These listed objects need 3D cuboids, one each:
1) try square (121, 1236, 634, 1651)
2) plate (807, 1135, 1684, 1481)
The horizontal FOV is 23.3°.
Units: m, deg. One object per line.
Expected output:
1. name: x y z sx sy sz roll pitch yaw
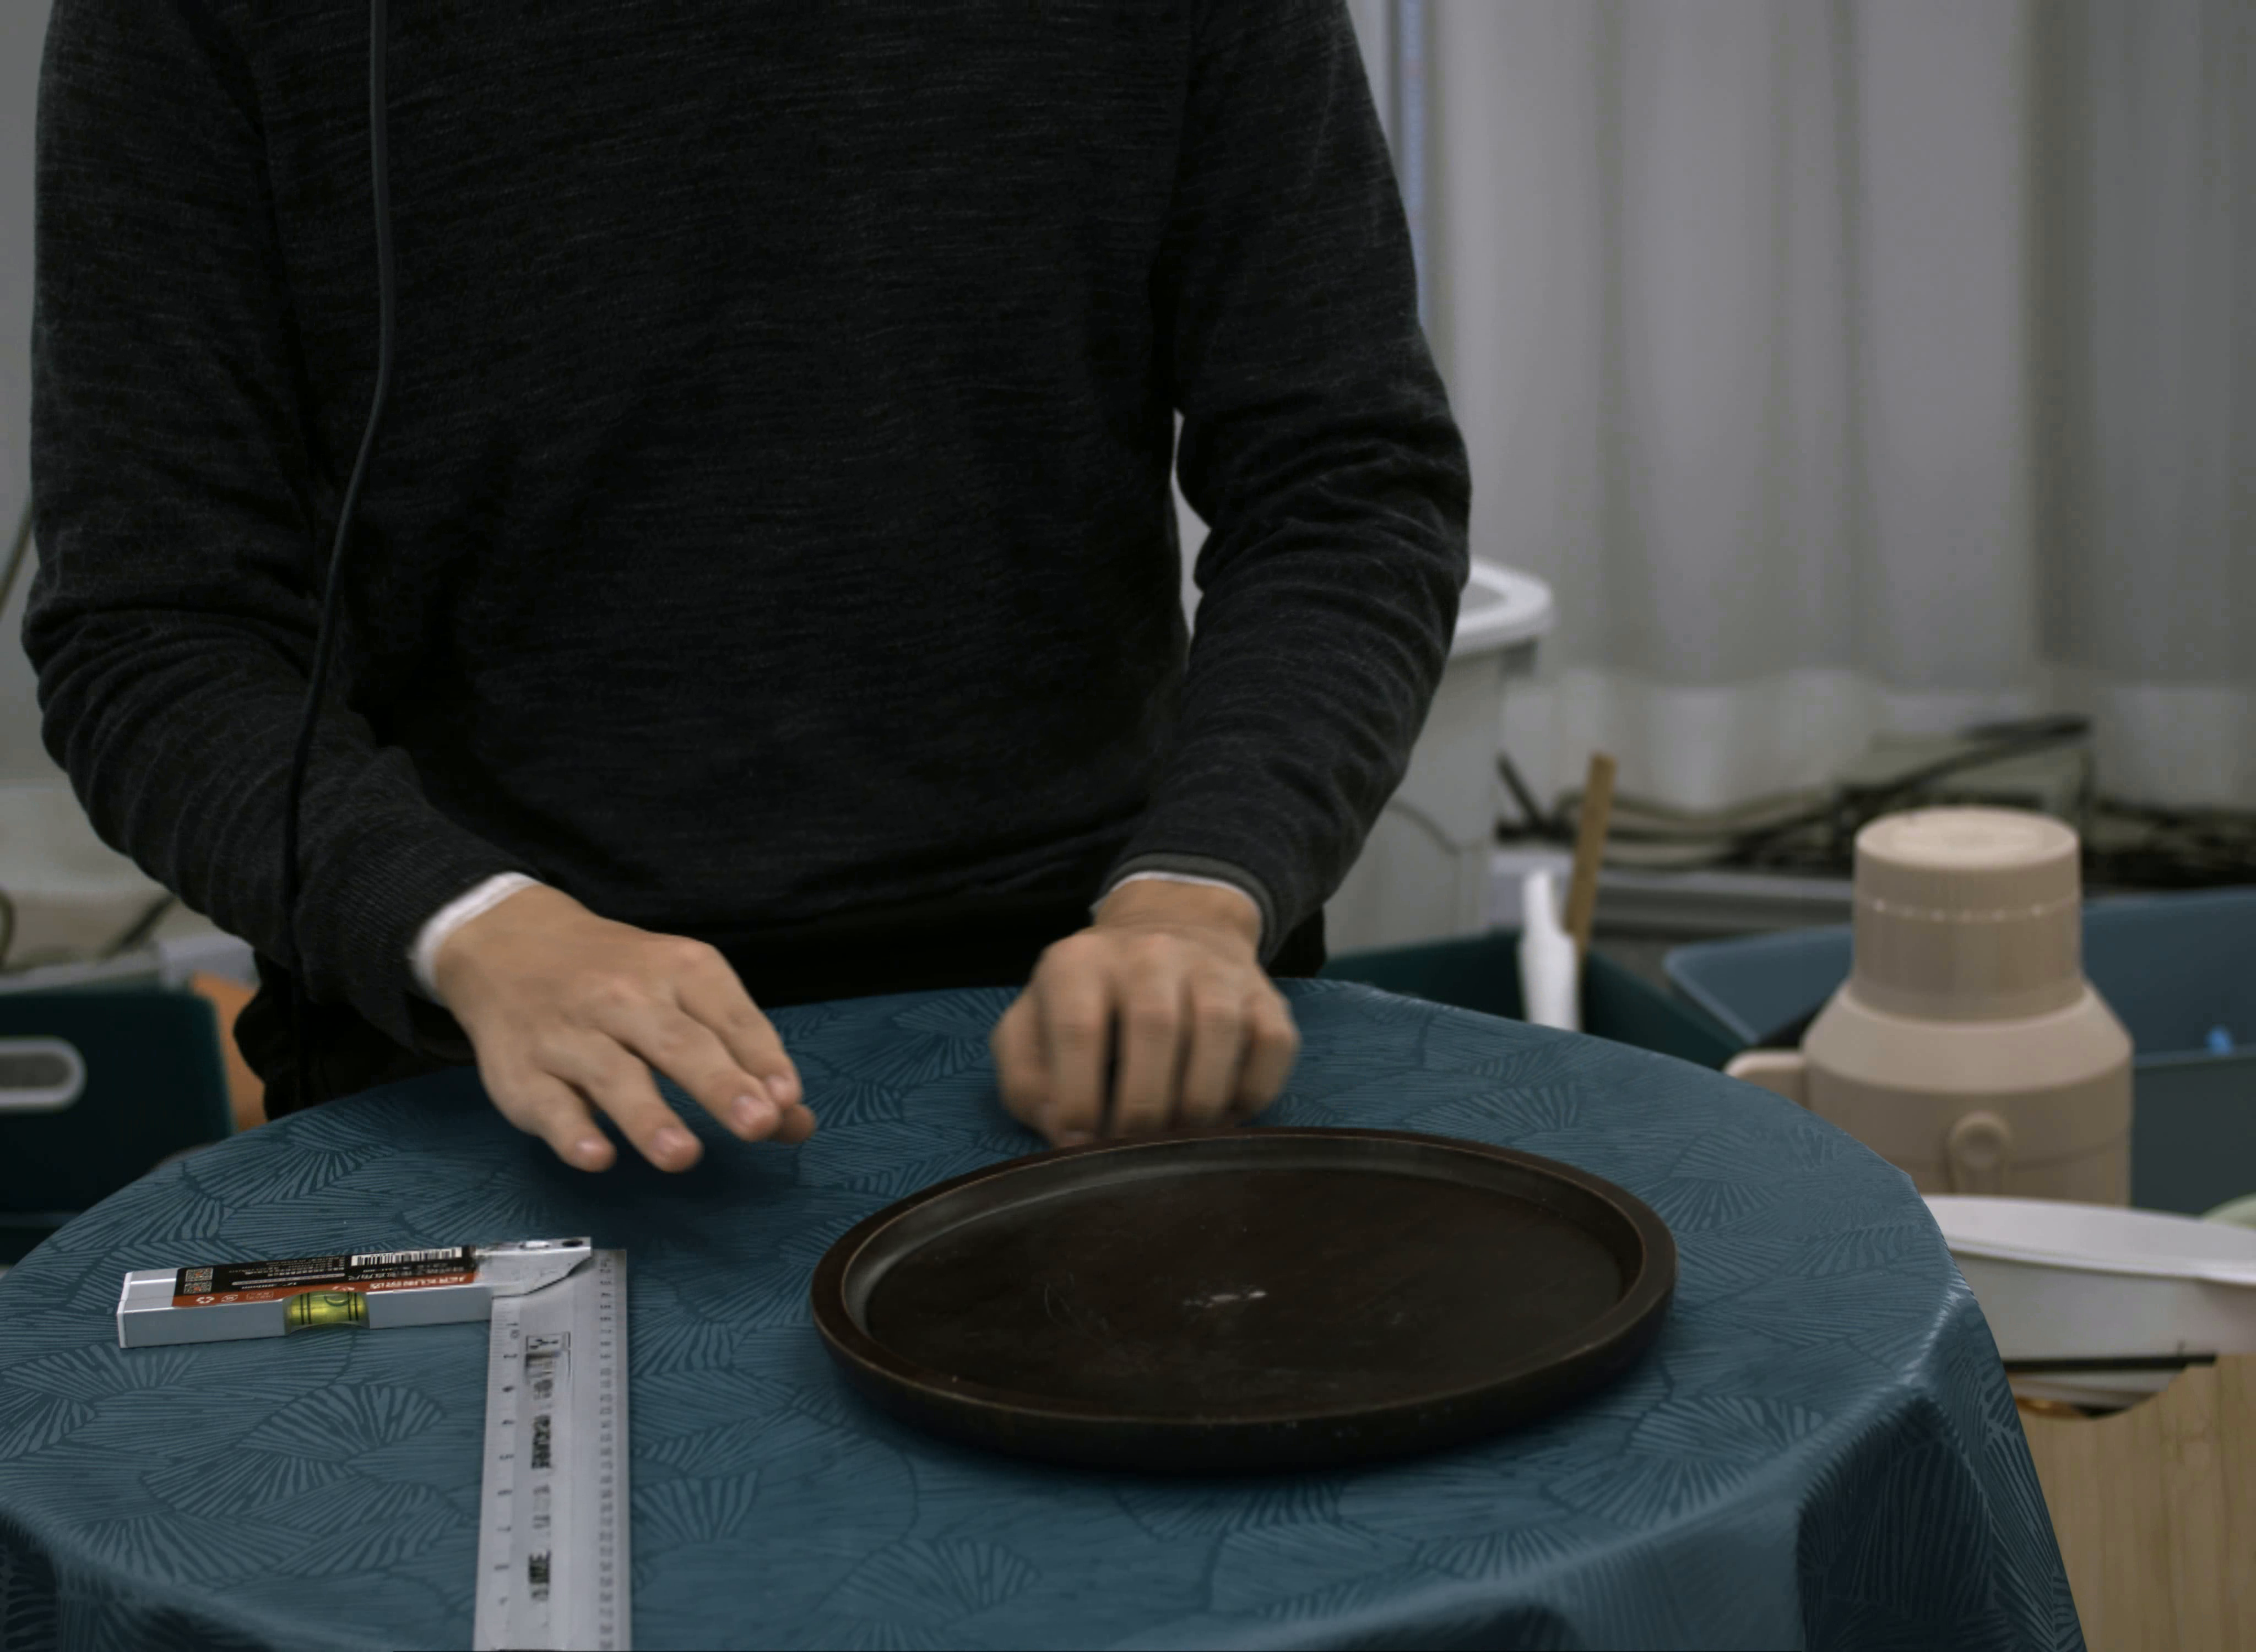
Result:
1. try square: -0.212 0.176 1.510 0.152 0.016 0.315 -5 16 -4
2. plate: 0.033 0.136 1.582 0.254 0.029 0.256 -3 16 0
